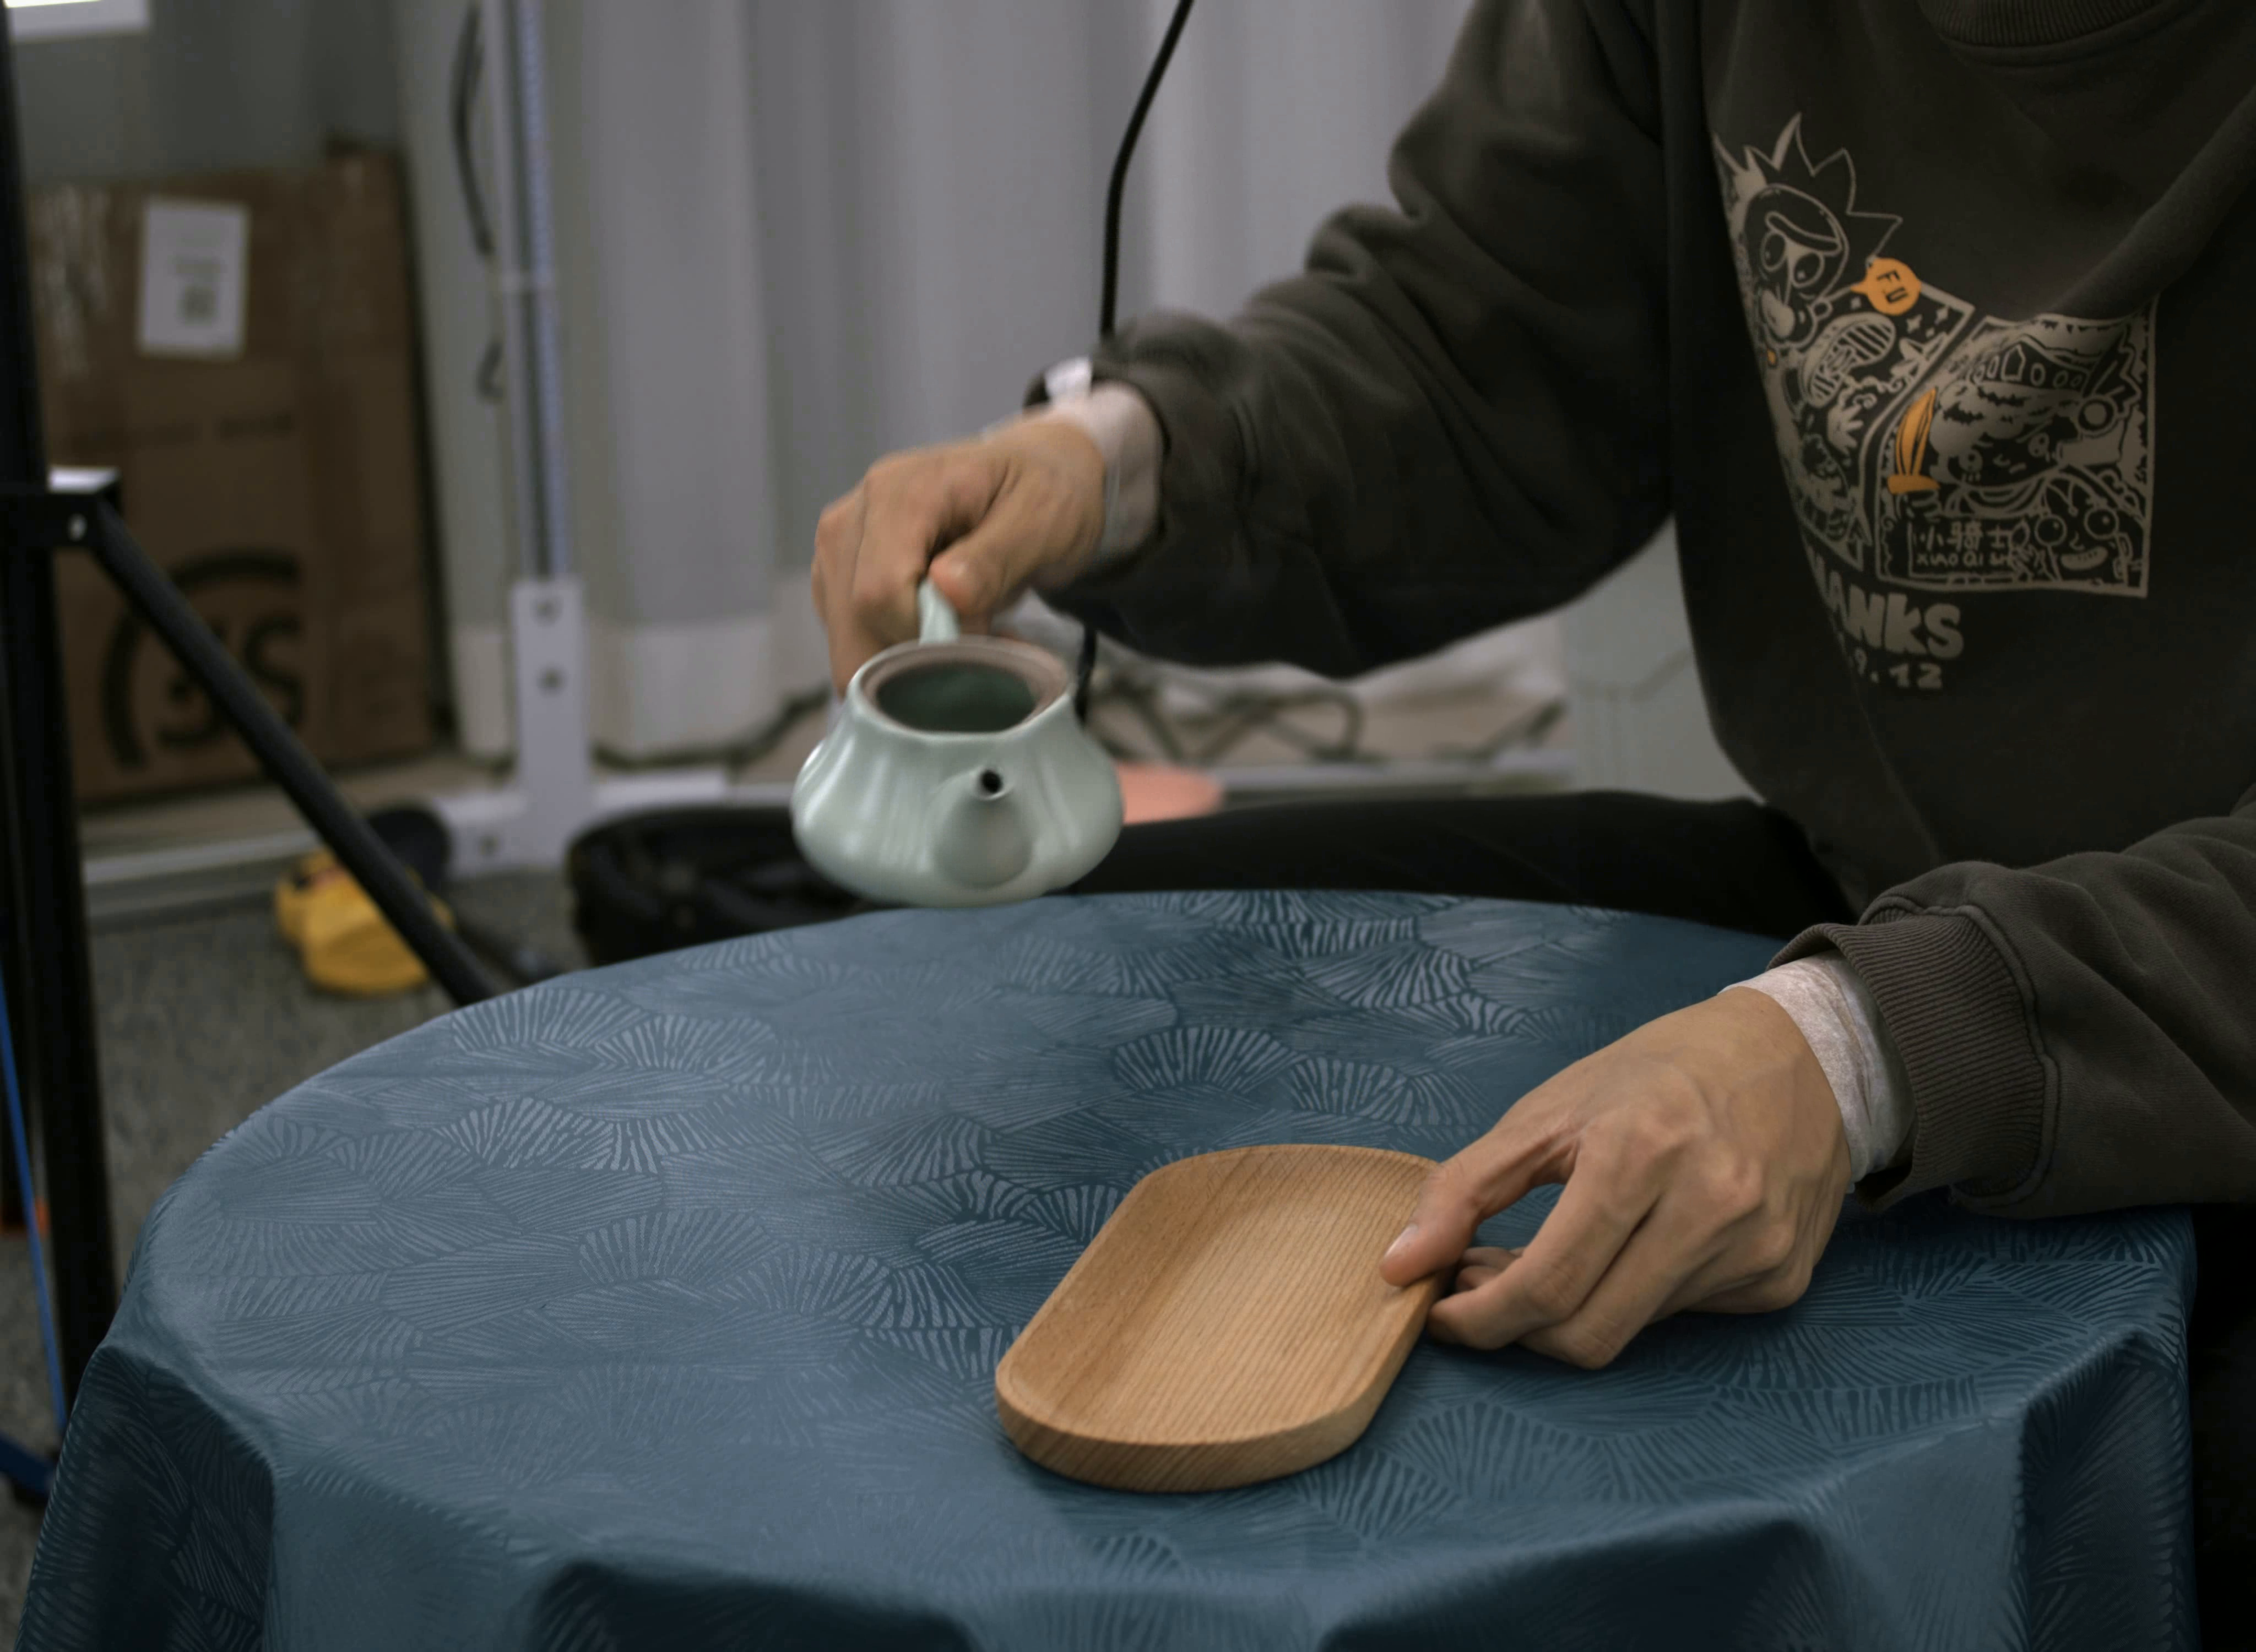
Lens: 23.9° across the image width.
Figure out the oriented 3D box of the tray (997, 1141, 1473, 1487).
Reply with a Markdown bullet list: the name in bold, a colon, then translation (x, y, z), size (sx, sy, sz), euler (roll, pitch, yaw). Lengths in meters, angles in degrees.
- **tray**: translation (0.032, 0.130, 1.447), size (0.102, 0.020, 0.229), euler (2, 15, 14)

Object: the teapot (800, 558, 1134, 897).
- **teapot**: translation (-0.047, -0.024, 1.535), size (0.095, 0.061, 0.139), euler (-7, 33, -11)
